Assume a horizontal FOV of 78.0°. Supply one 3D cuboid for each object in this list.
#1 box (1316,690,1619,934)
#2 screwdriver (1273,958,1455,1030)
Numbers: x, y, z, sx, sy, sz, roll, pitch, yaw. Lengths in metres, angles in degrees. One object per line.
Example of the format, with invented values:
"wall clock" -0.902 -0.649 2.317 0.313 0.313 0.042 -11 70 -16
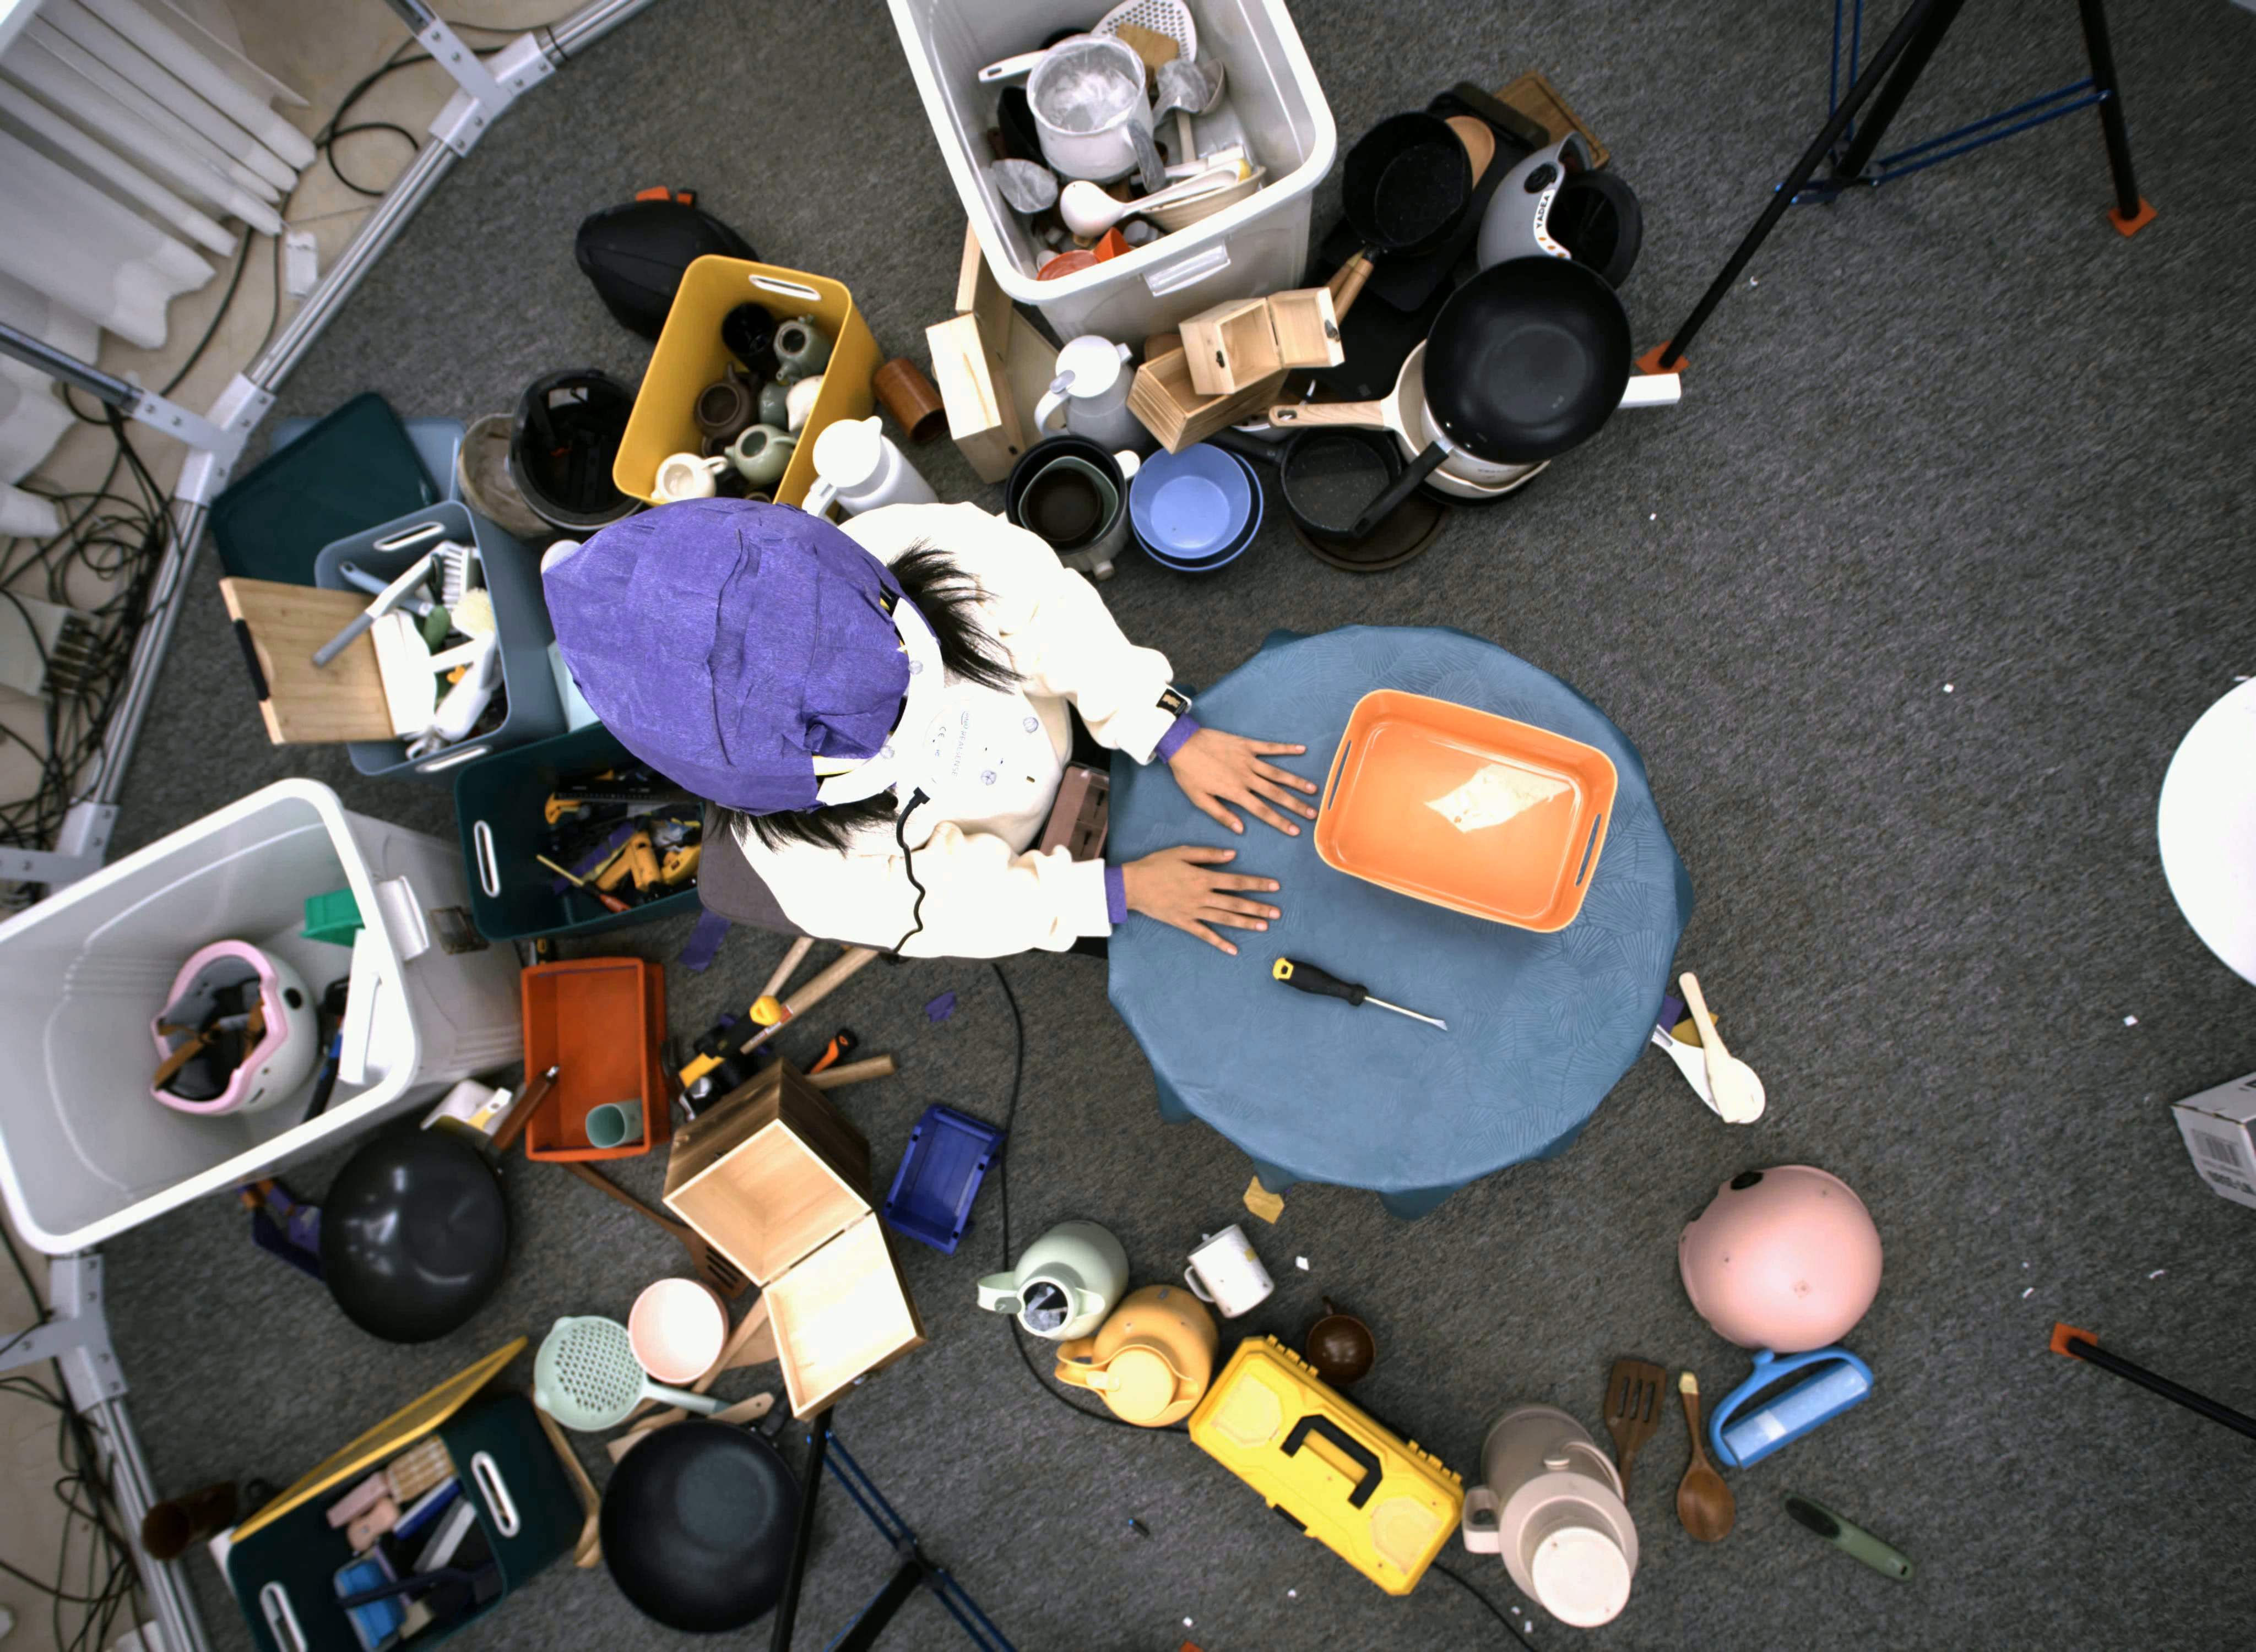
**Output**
"box" 0.340 -0.015 1.399 0.273 0.102 0.199 17 90 11
"screwdriver" 0.246 0.180 1.448 0.198 0.031 0.031 21 89 8
